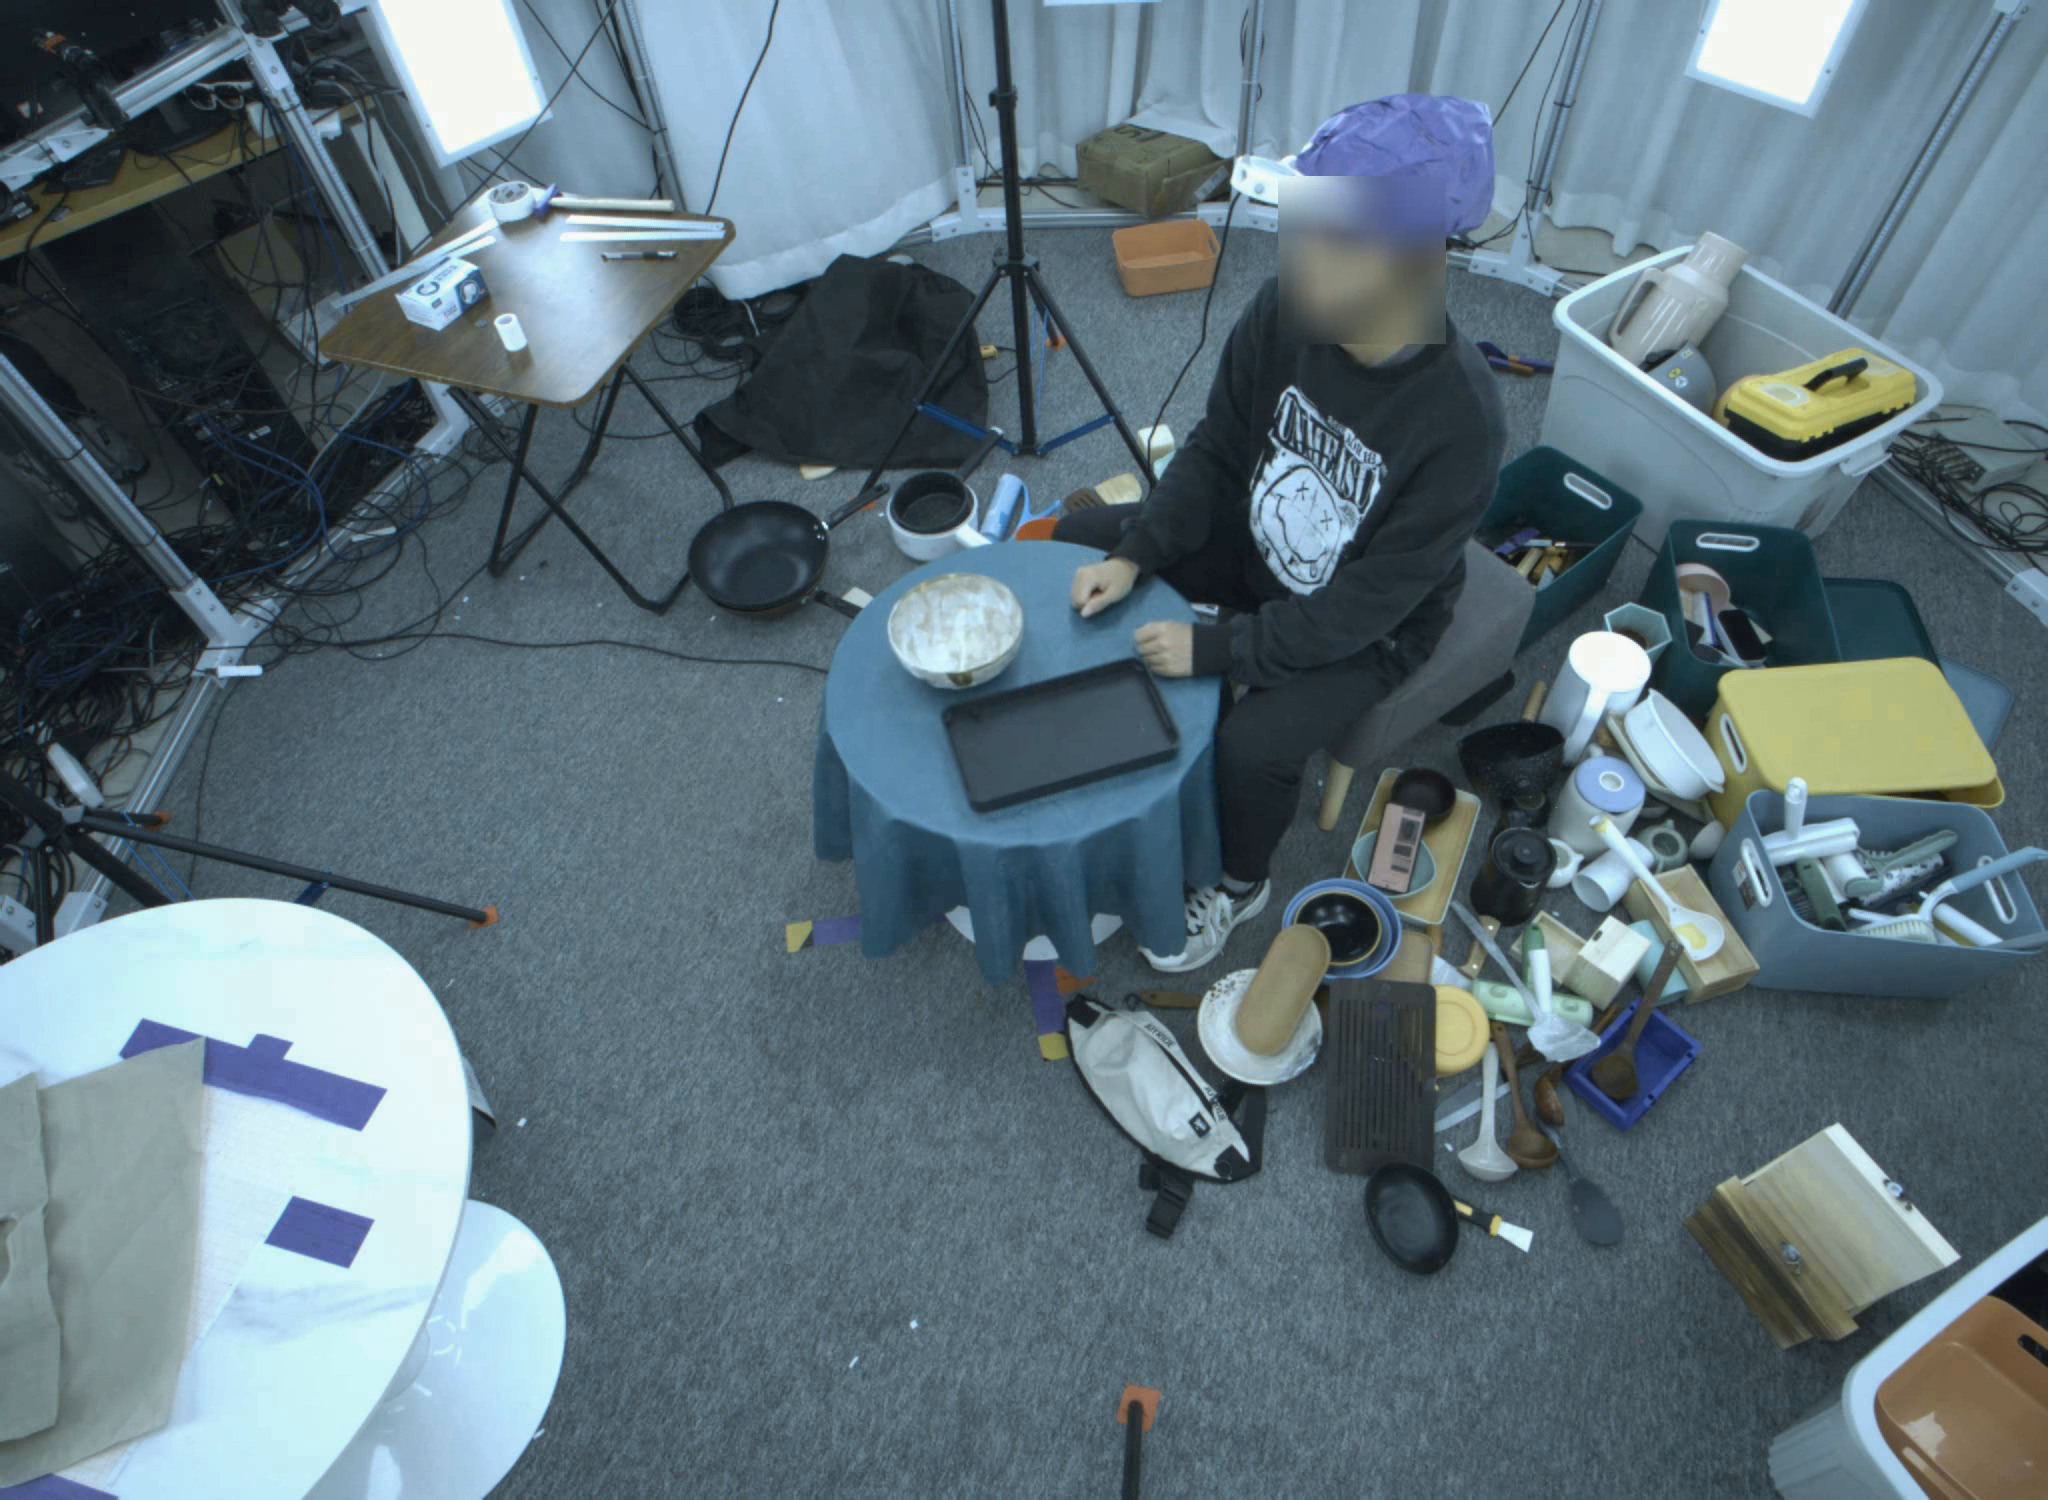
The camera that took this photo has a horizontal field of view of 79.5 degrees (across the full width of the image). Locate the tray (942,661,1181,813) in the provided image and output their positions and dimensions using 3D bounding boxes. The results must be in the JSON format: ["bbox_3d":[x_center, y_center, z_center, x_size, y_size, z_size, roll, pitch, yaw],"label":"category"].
[{"bbox_3d":[0.052,-0.022,1.787,0.320,0.037,0.181,-14,54,-9],"label":"tray"}]

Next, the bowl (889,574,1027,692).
[{"bbox_3d":[-0.093,-0.161,1.857,0.214,0.095,0.212,-1,54,3],"label":"bowl"}]
